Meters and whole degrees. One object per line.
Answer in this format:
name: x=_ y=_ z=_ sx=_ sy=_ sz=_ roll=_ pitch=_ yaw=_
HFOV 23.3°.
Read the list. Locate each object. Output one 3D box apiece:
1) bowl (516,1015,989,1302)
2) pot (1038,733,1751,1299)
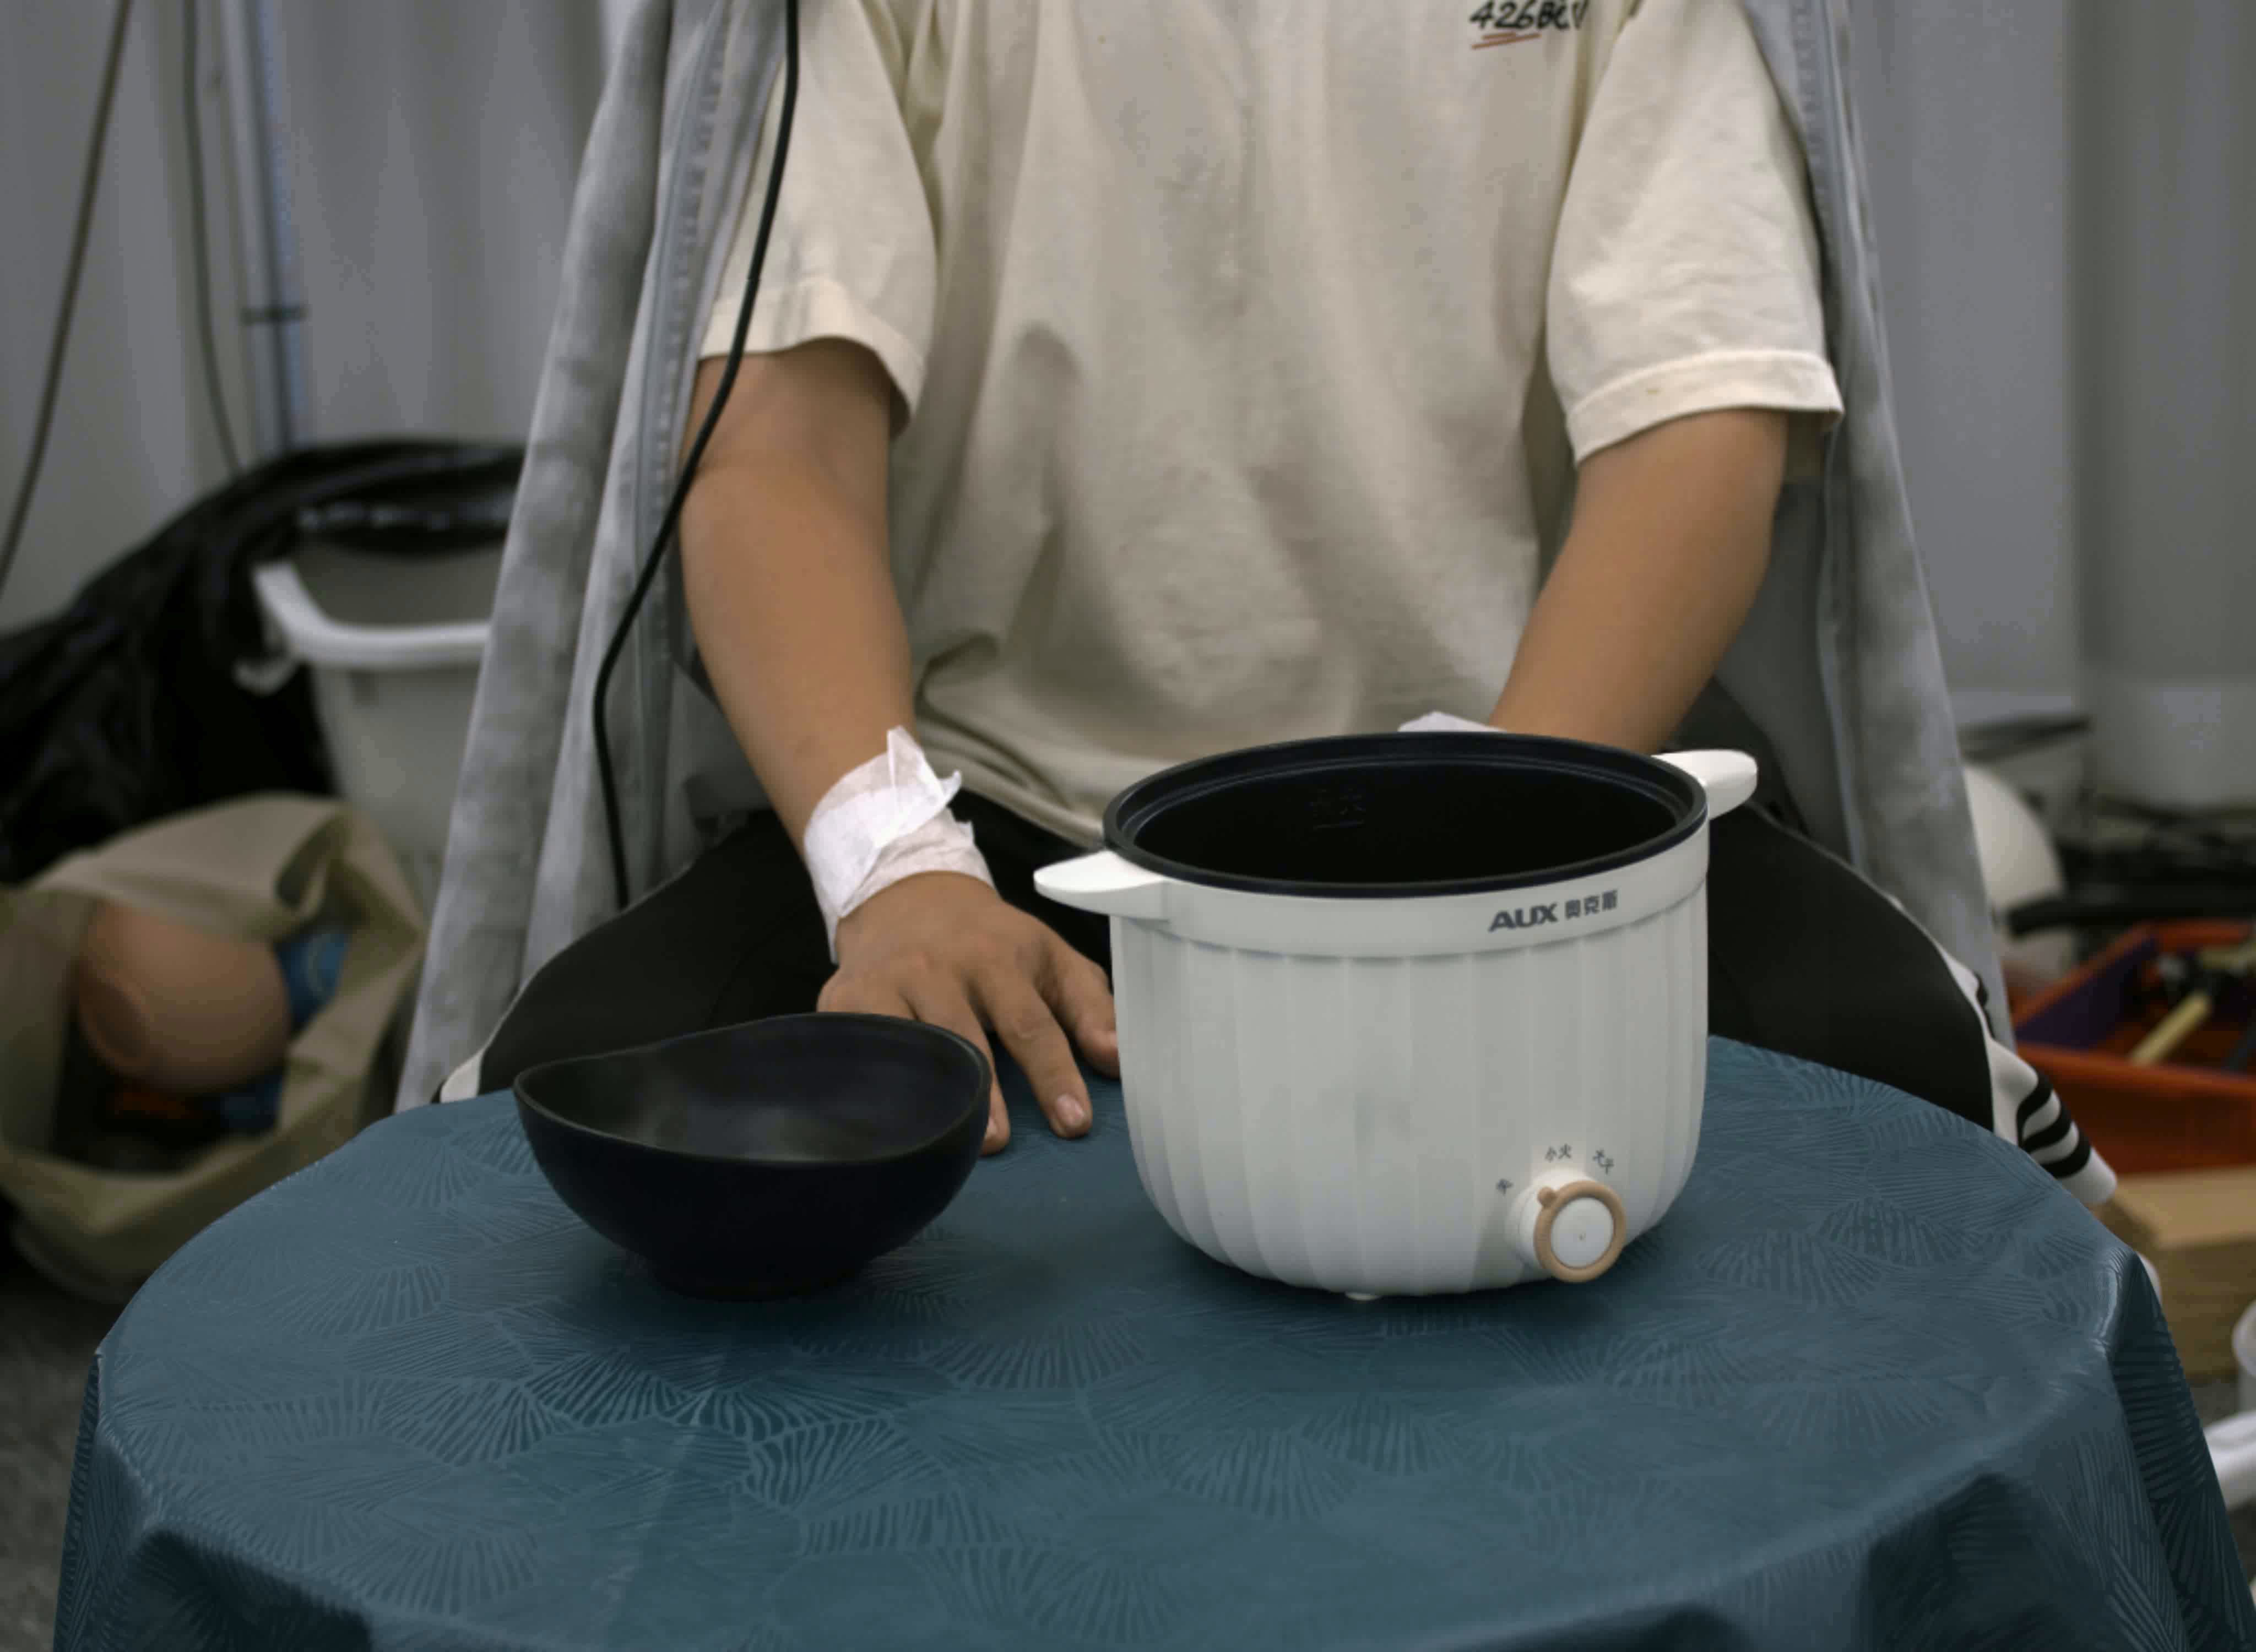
bowl: x=-0.114 y=0.104 z=1.658 sx=0.137 sy=0.066 sz=0.171 roll=-10 pitch=16 yaw=-31
pot: x=0.089 y=0.059 z=1.646 sx=0.239 sy=0.142 sz=0.192 roll=-10 pitch=13 yaw=-25
